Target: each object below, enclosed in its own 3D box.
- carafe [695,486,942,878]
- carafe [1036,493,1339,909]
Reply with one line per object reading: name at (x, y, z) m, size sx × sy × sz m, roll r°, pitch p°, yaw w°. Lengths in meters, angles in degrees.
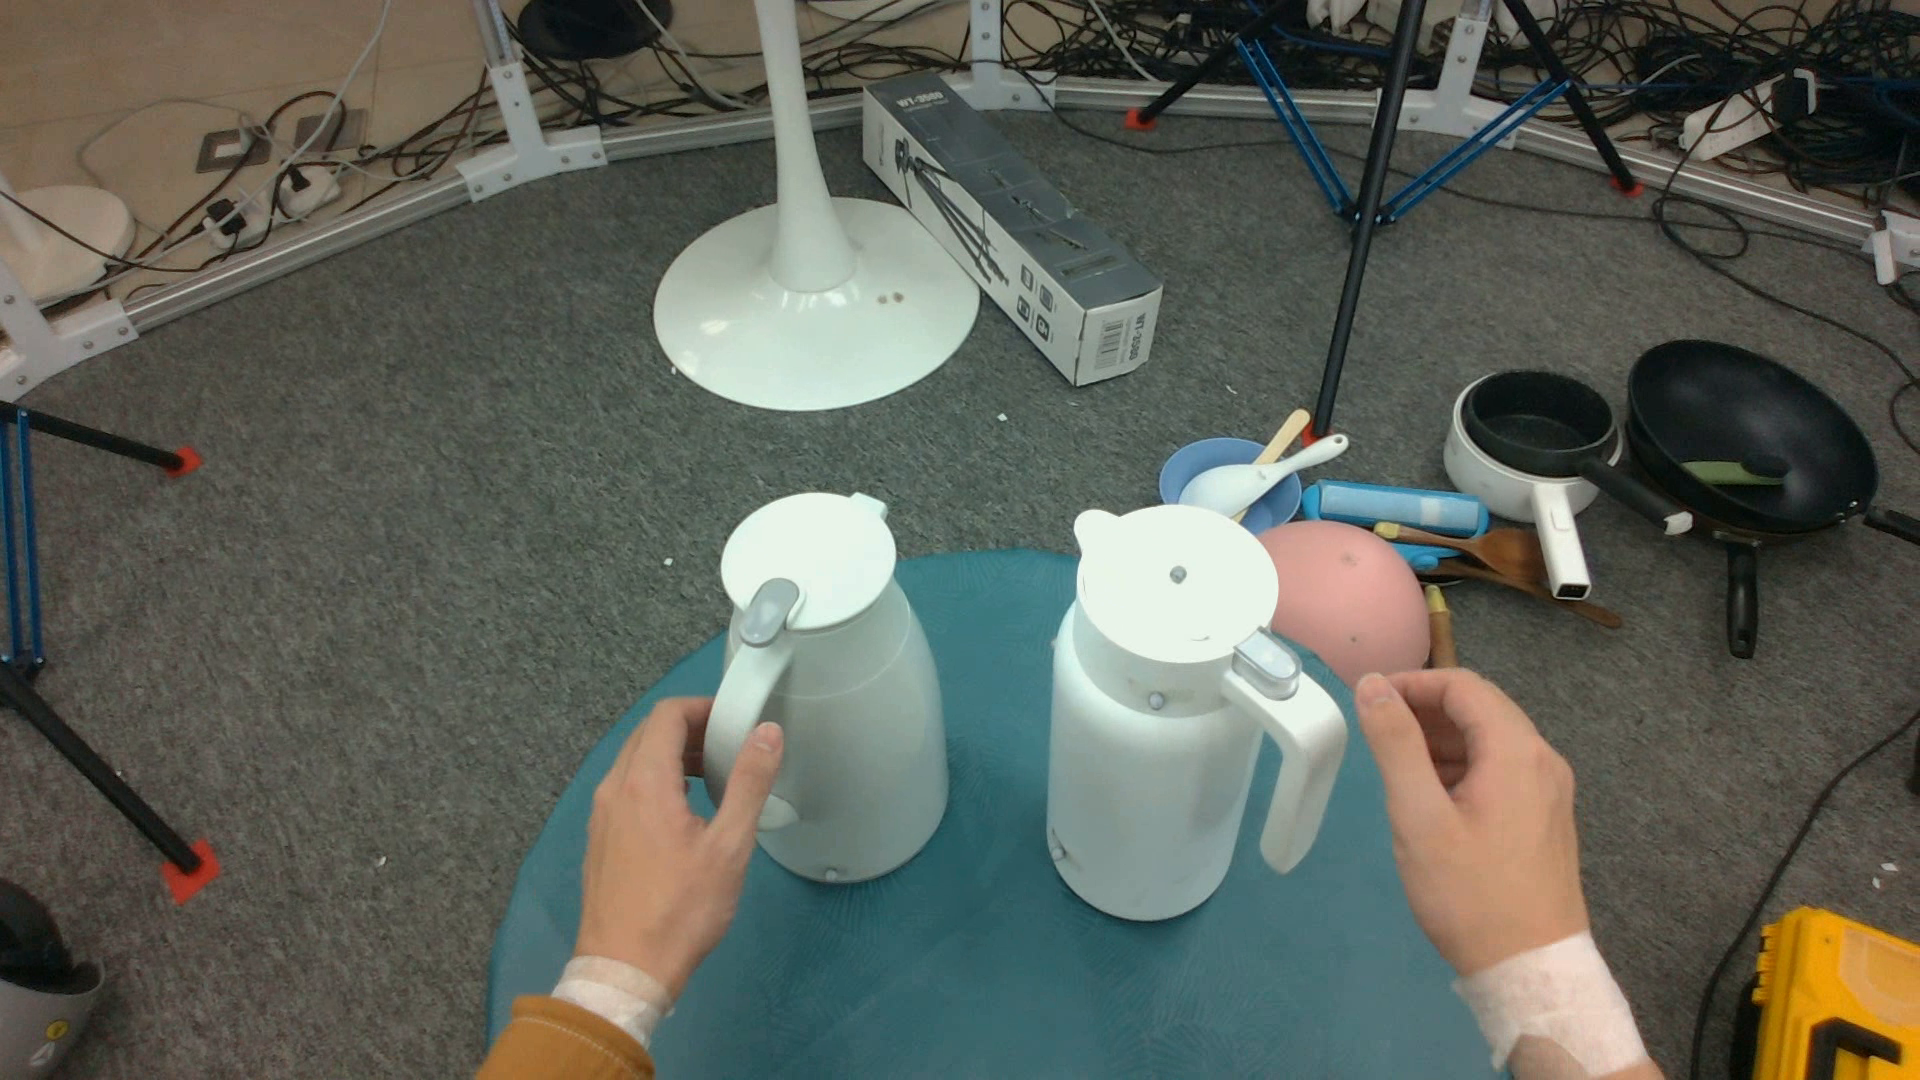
carafe at (-0.089, 0.094, 0.790) m, size 0.132 × 0.247 × 0.168 m, roll 20°, pitch 54°, yaw 18°
carafe at (0.117, 0.108, 0.762) m, size 0.124 × 0.267 × 0.173 m, roll -33°, pitch 58°, yaw -26°
